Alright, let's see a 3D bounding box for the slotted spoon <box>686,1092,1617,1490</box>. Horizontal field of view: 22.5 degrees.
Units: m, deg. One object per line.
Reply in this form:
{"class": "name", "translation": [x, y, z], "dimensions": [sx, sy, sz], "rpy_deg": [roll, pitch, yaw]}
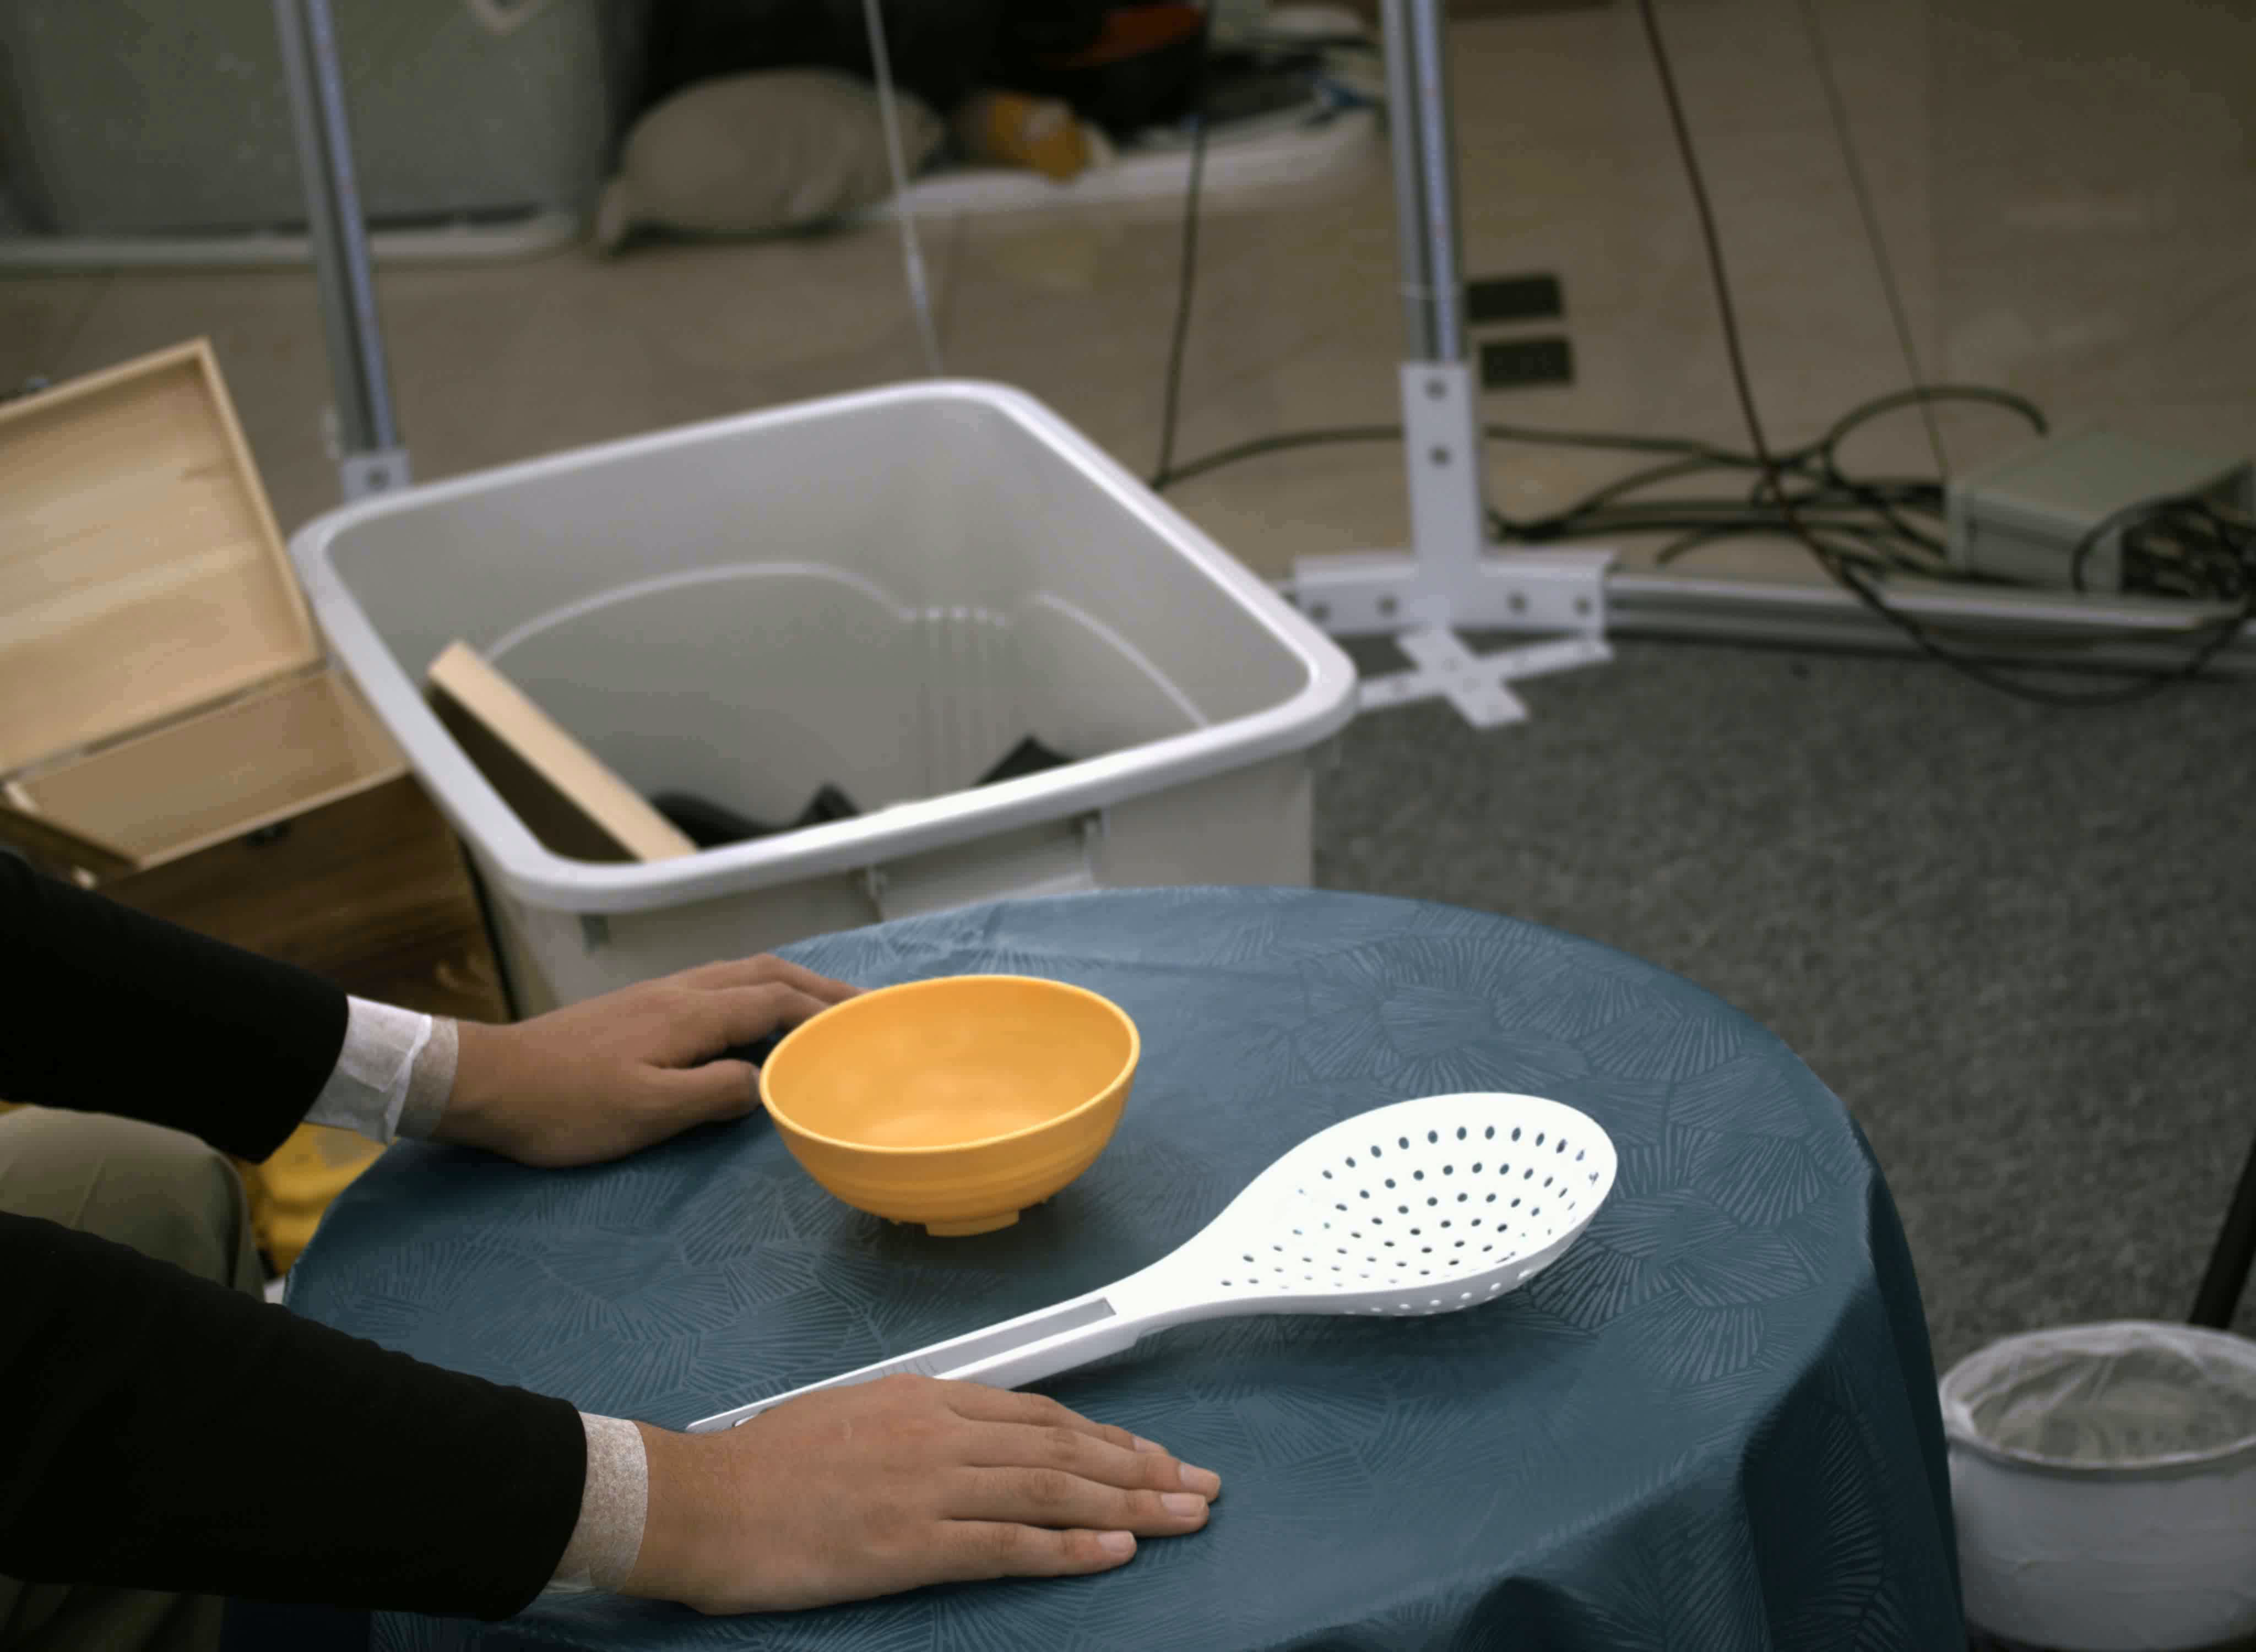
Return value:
{"class": "slotted spoon", "translation": [0.010, 0.170, 2.024], "dimensions": [0.348, 0.046, 0.134], "rpy_deg": [-14, 25, -14]}

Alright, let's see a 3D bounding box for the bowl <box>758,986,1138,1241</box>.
{"class": "bowl", "translation": [-0.066, 0.116, 2.146], "dimensions": [0.145, 0.061, 0.143], "rpy_deg": [-4, 23, 2]}
